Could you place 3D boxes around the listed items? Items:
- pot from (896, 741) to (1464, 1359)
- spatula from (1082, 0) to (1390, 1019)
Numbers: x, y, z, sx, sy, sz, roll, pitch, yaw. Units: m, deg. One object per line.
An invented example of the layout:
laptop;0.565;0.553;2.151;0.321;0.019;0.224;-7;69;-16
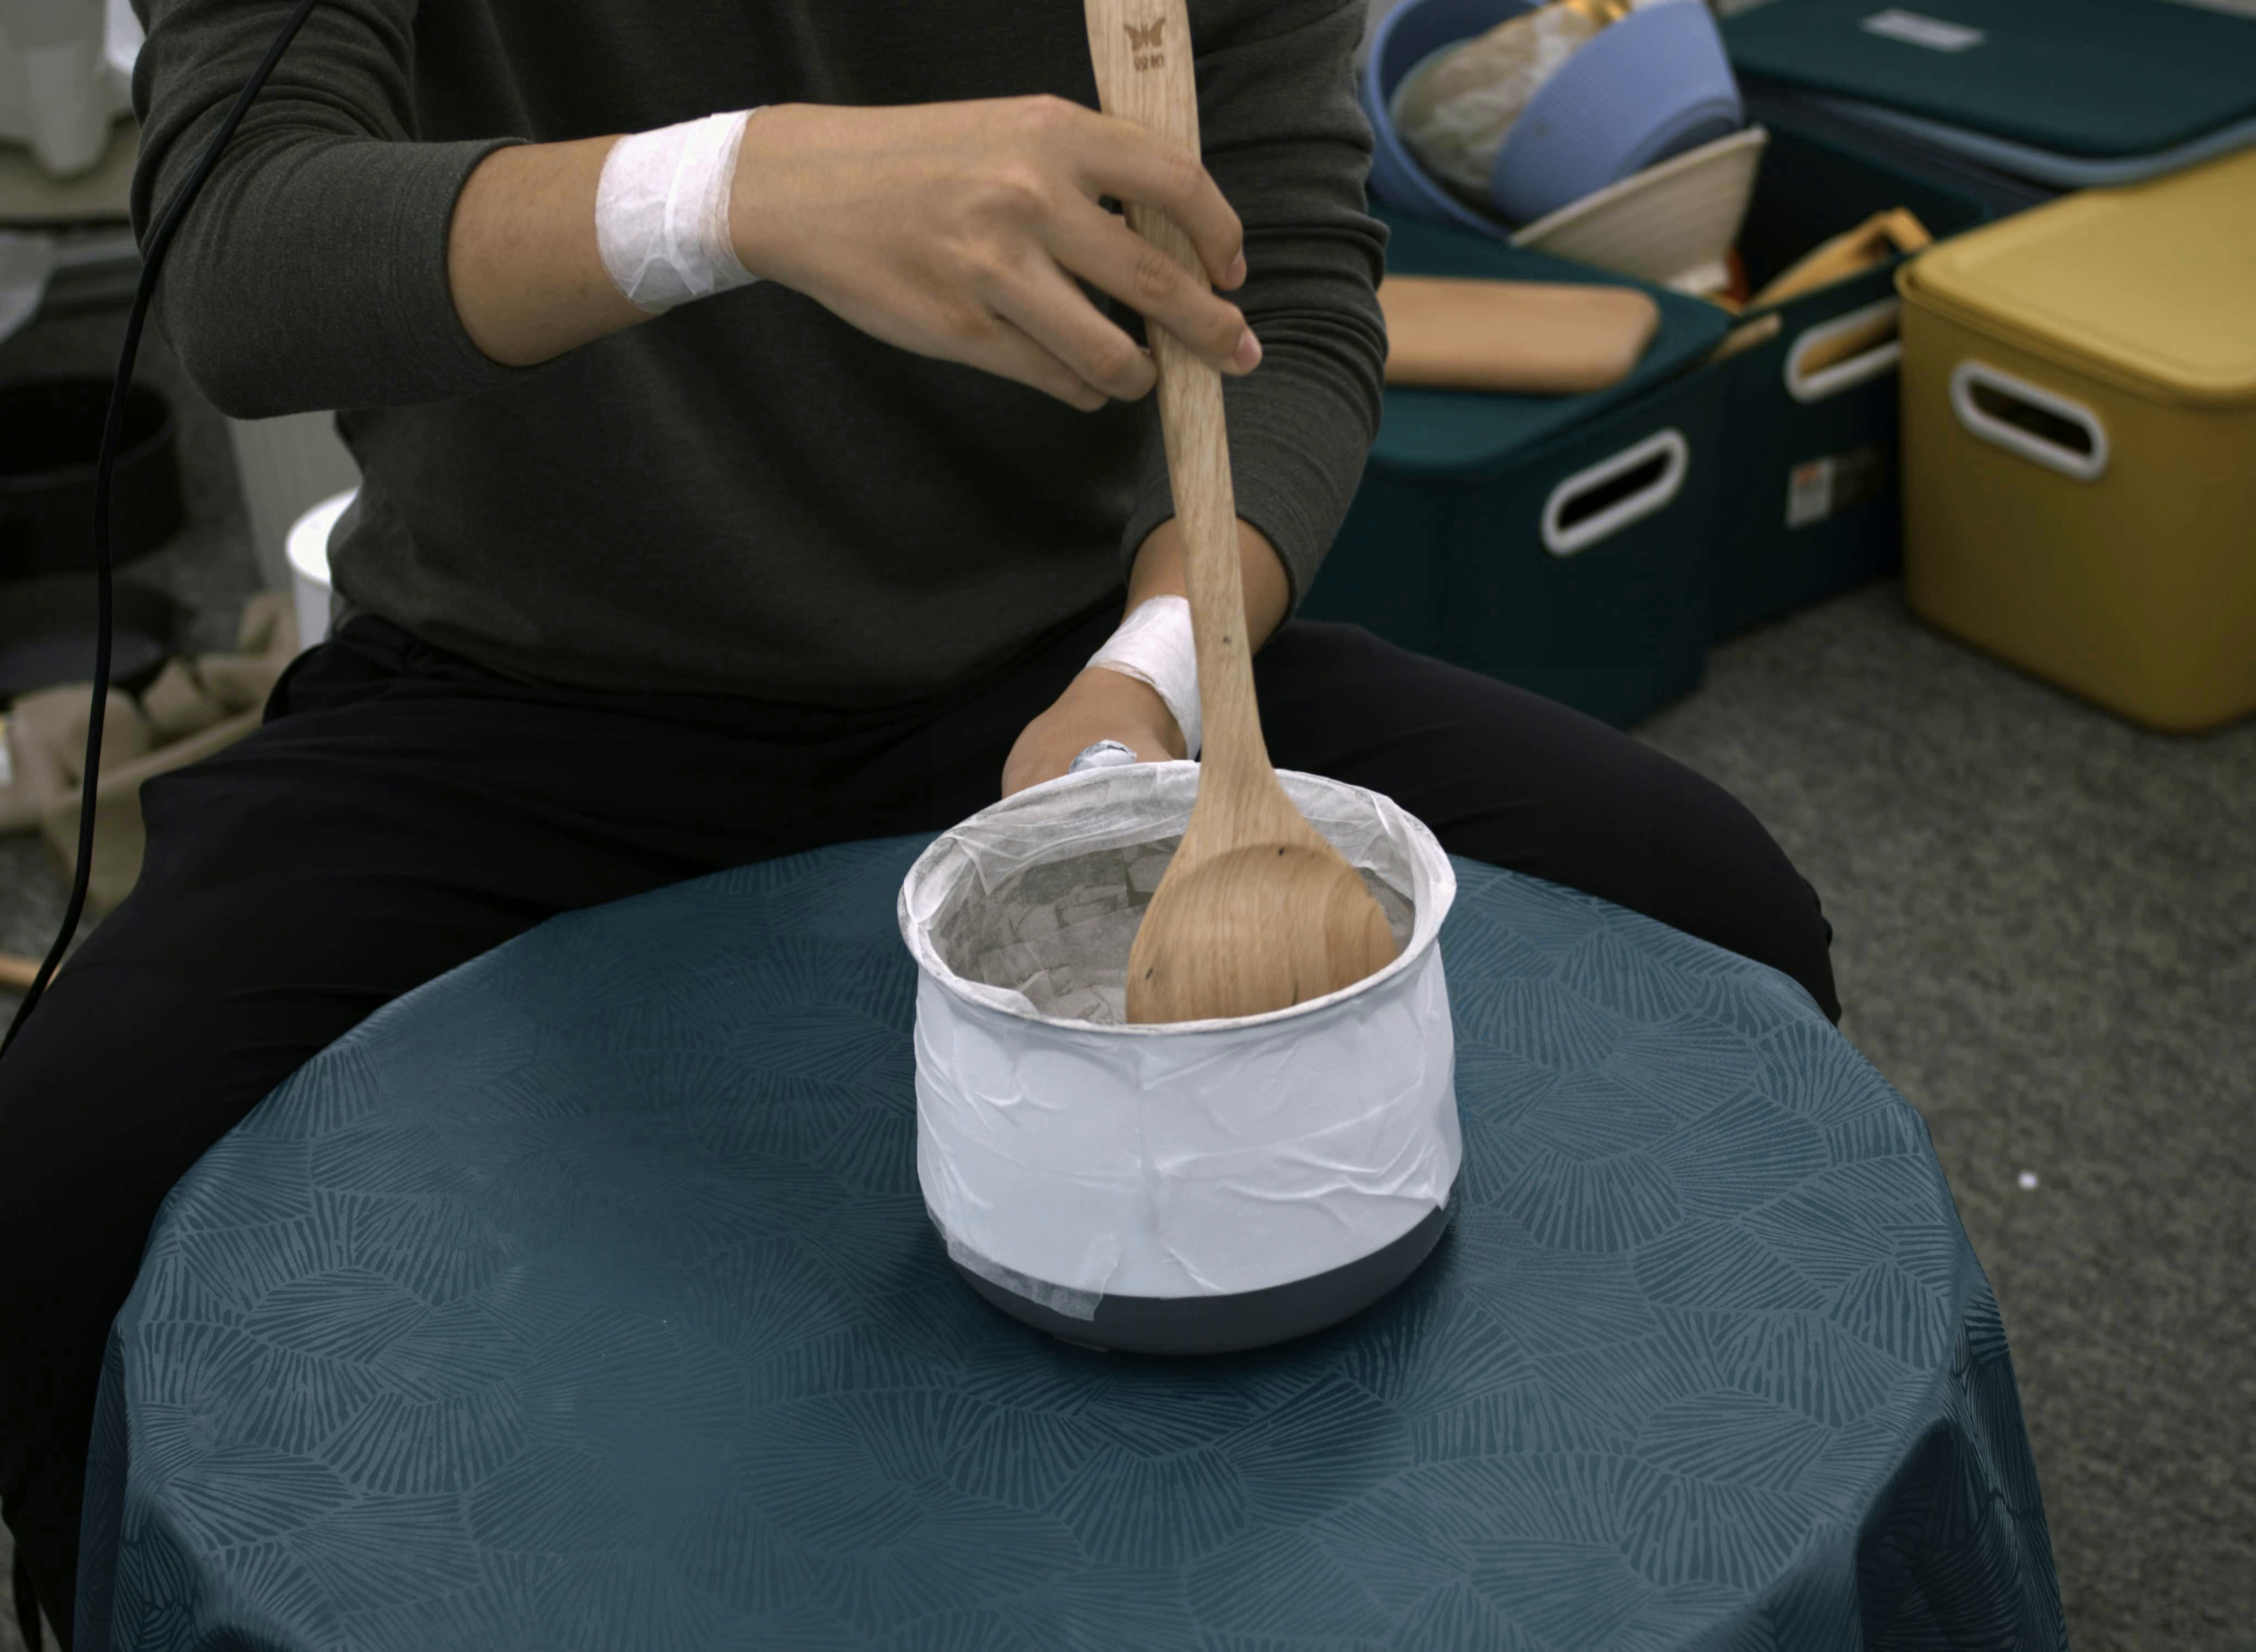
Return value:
pot;0.012;0.065;1.826;0.178;0.135;0.236;-9;27;-11
spatula;0.019;-0.093;1.728;0.096;0.389;0.018;-12;14;-19
